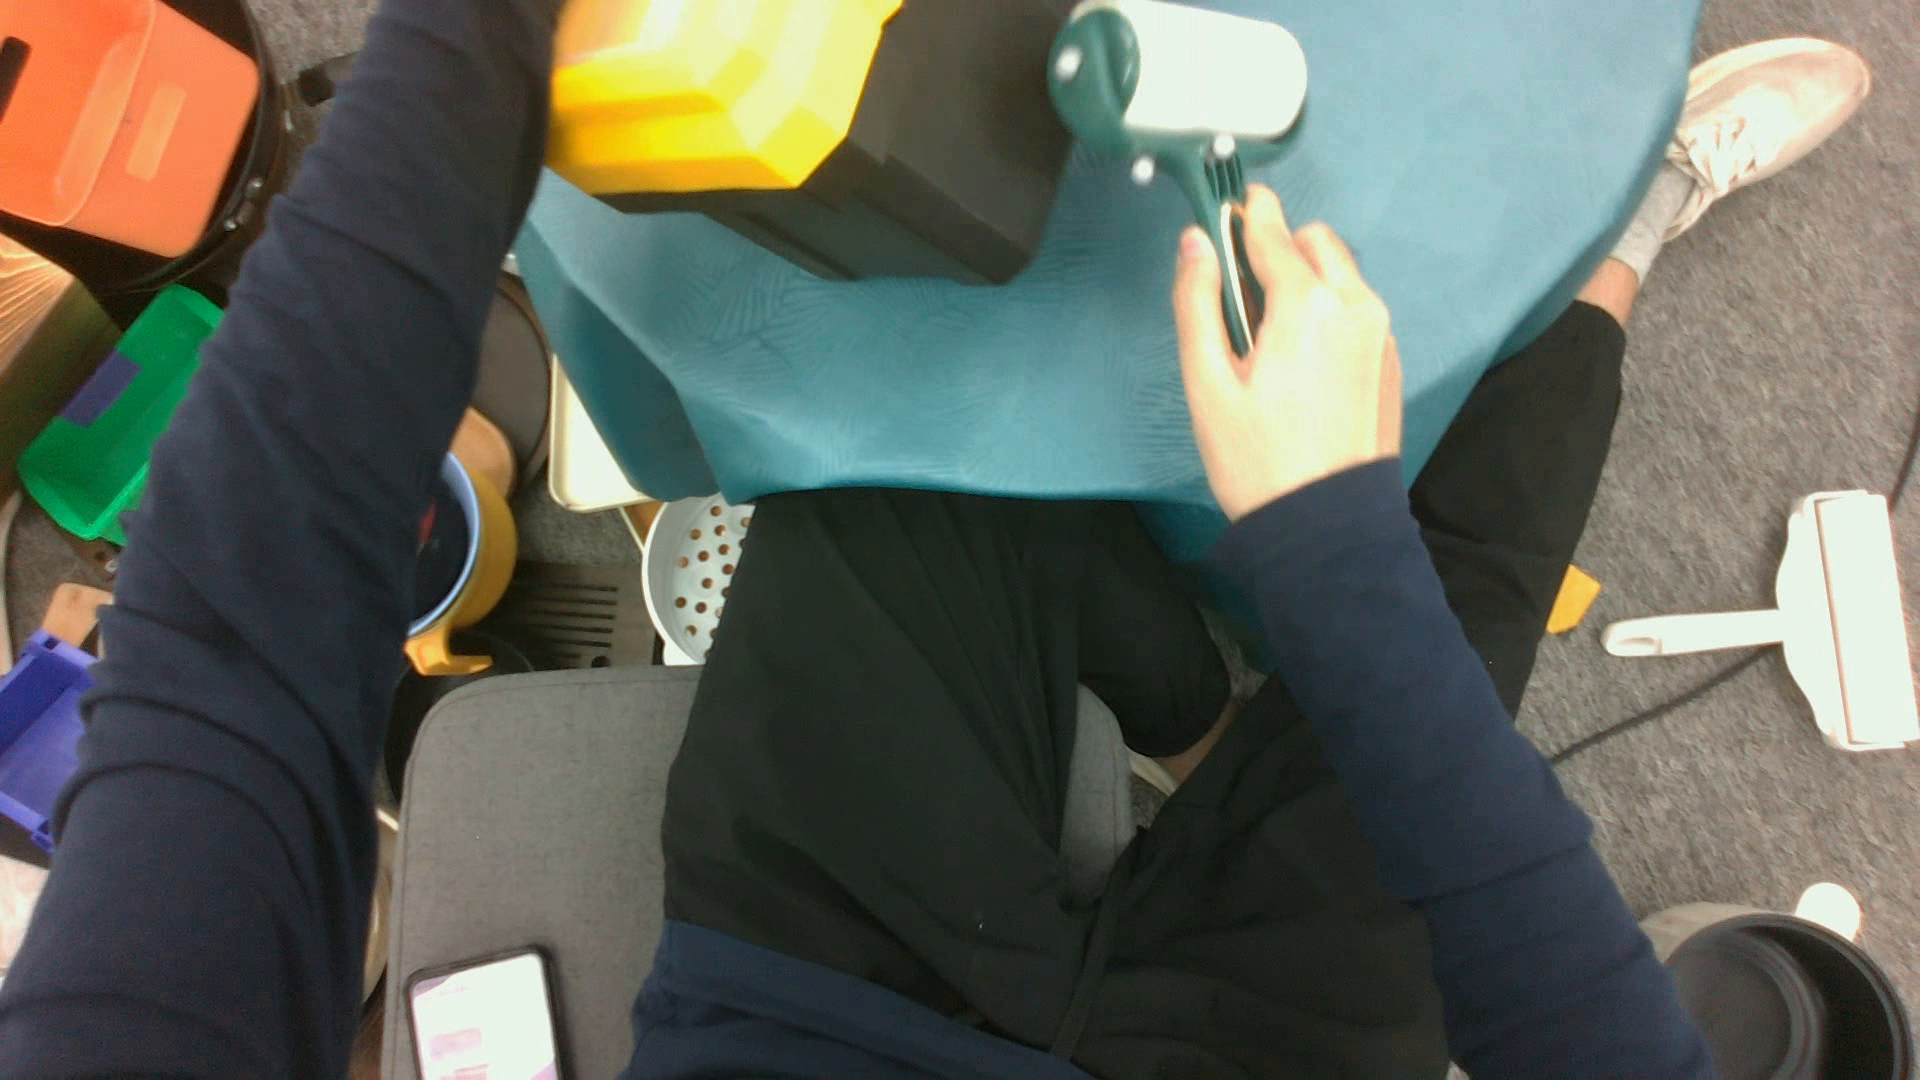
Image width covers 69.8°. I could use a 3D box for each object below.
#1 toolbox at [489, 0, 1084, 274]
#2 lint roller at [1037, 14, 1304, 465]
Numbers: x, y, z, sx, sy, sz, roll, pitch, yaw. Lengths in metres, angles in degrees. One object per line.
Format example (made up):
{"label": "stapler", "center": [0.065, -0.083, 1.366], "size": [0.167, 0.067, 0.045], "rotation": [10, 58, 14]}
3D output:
{"label": "toolbox", "center": [-0.031, -0.286, 0.549], "size": [0.181, 0.173, 0.352], "rotation": [11, 81, 41]}
{"label": "lint roller", "center": [0.106, -0.120, 0.542], "size": [0.135, 0.048, 0.180], "rotation": [-13, 80, -38]}
